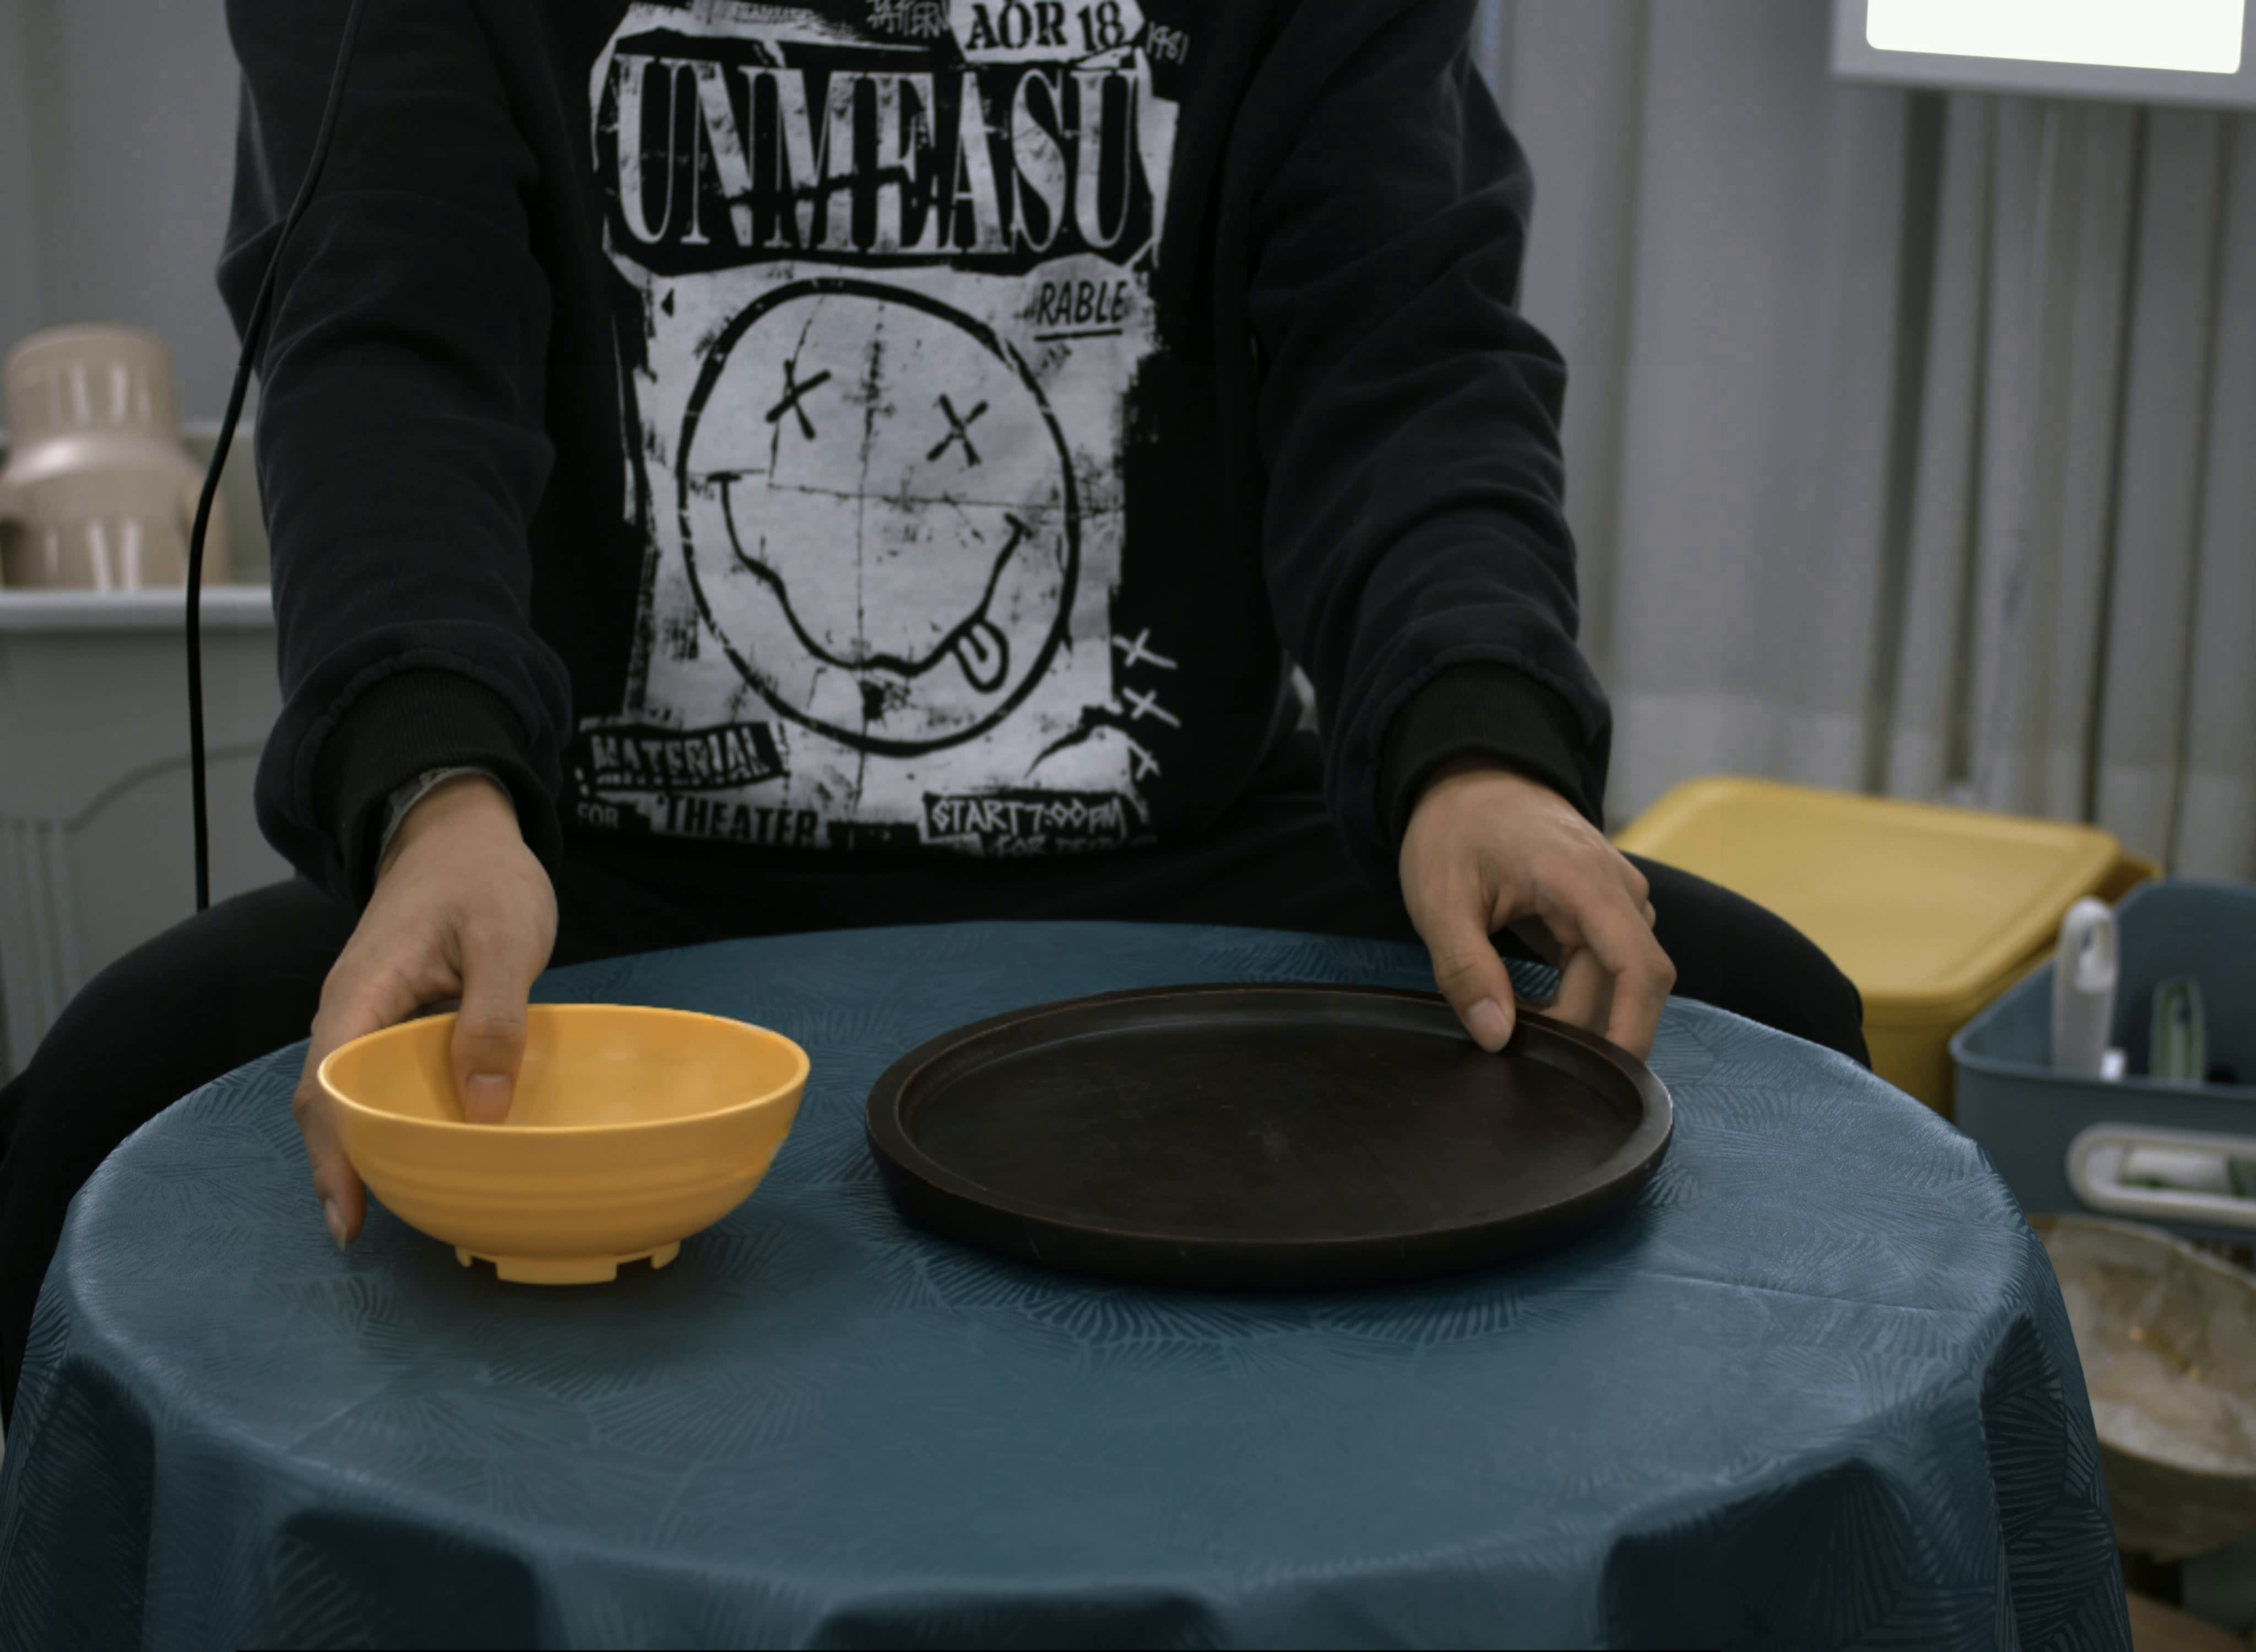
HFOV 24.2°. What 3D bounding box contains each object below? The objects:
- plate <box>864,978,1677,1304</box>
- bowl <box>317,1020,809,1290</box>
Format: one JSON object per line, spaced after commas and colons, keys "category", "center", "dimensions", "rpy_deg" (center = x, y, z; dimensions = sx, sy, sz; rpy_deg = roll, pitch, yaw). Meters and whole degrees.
{"category": "plate", "center": [0.044, 0.096, 1.644], "dimensions": [0.254, 0.029, 0.253], "rpy_deg": [-1, 16, 1]}
{"category": "bowl", "center": [-0.167, 0.100, 1.556], "dimensions": [0.145, 0.060, 0.145], "rpy_deg": [1, 10, 0]}
